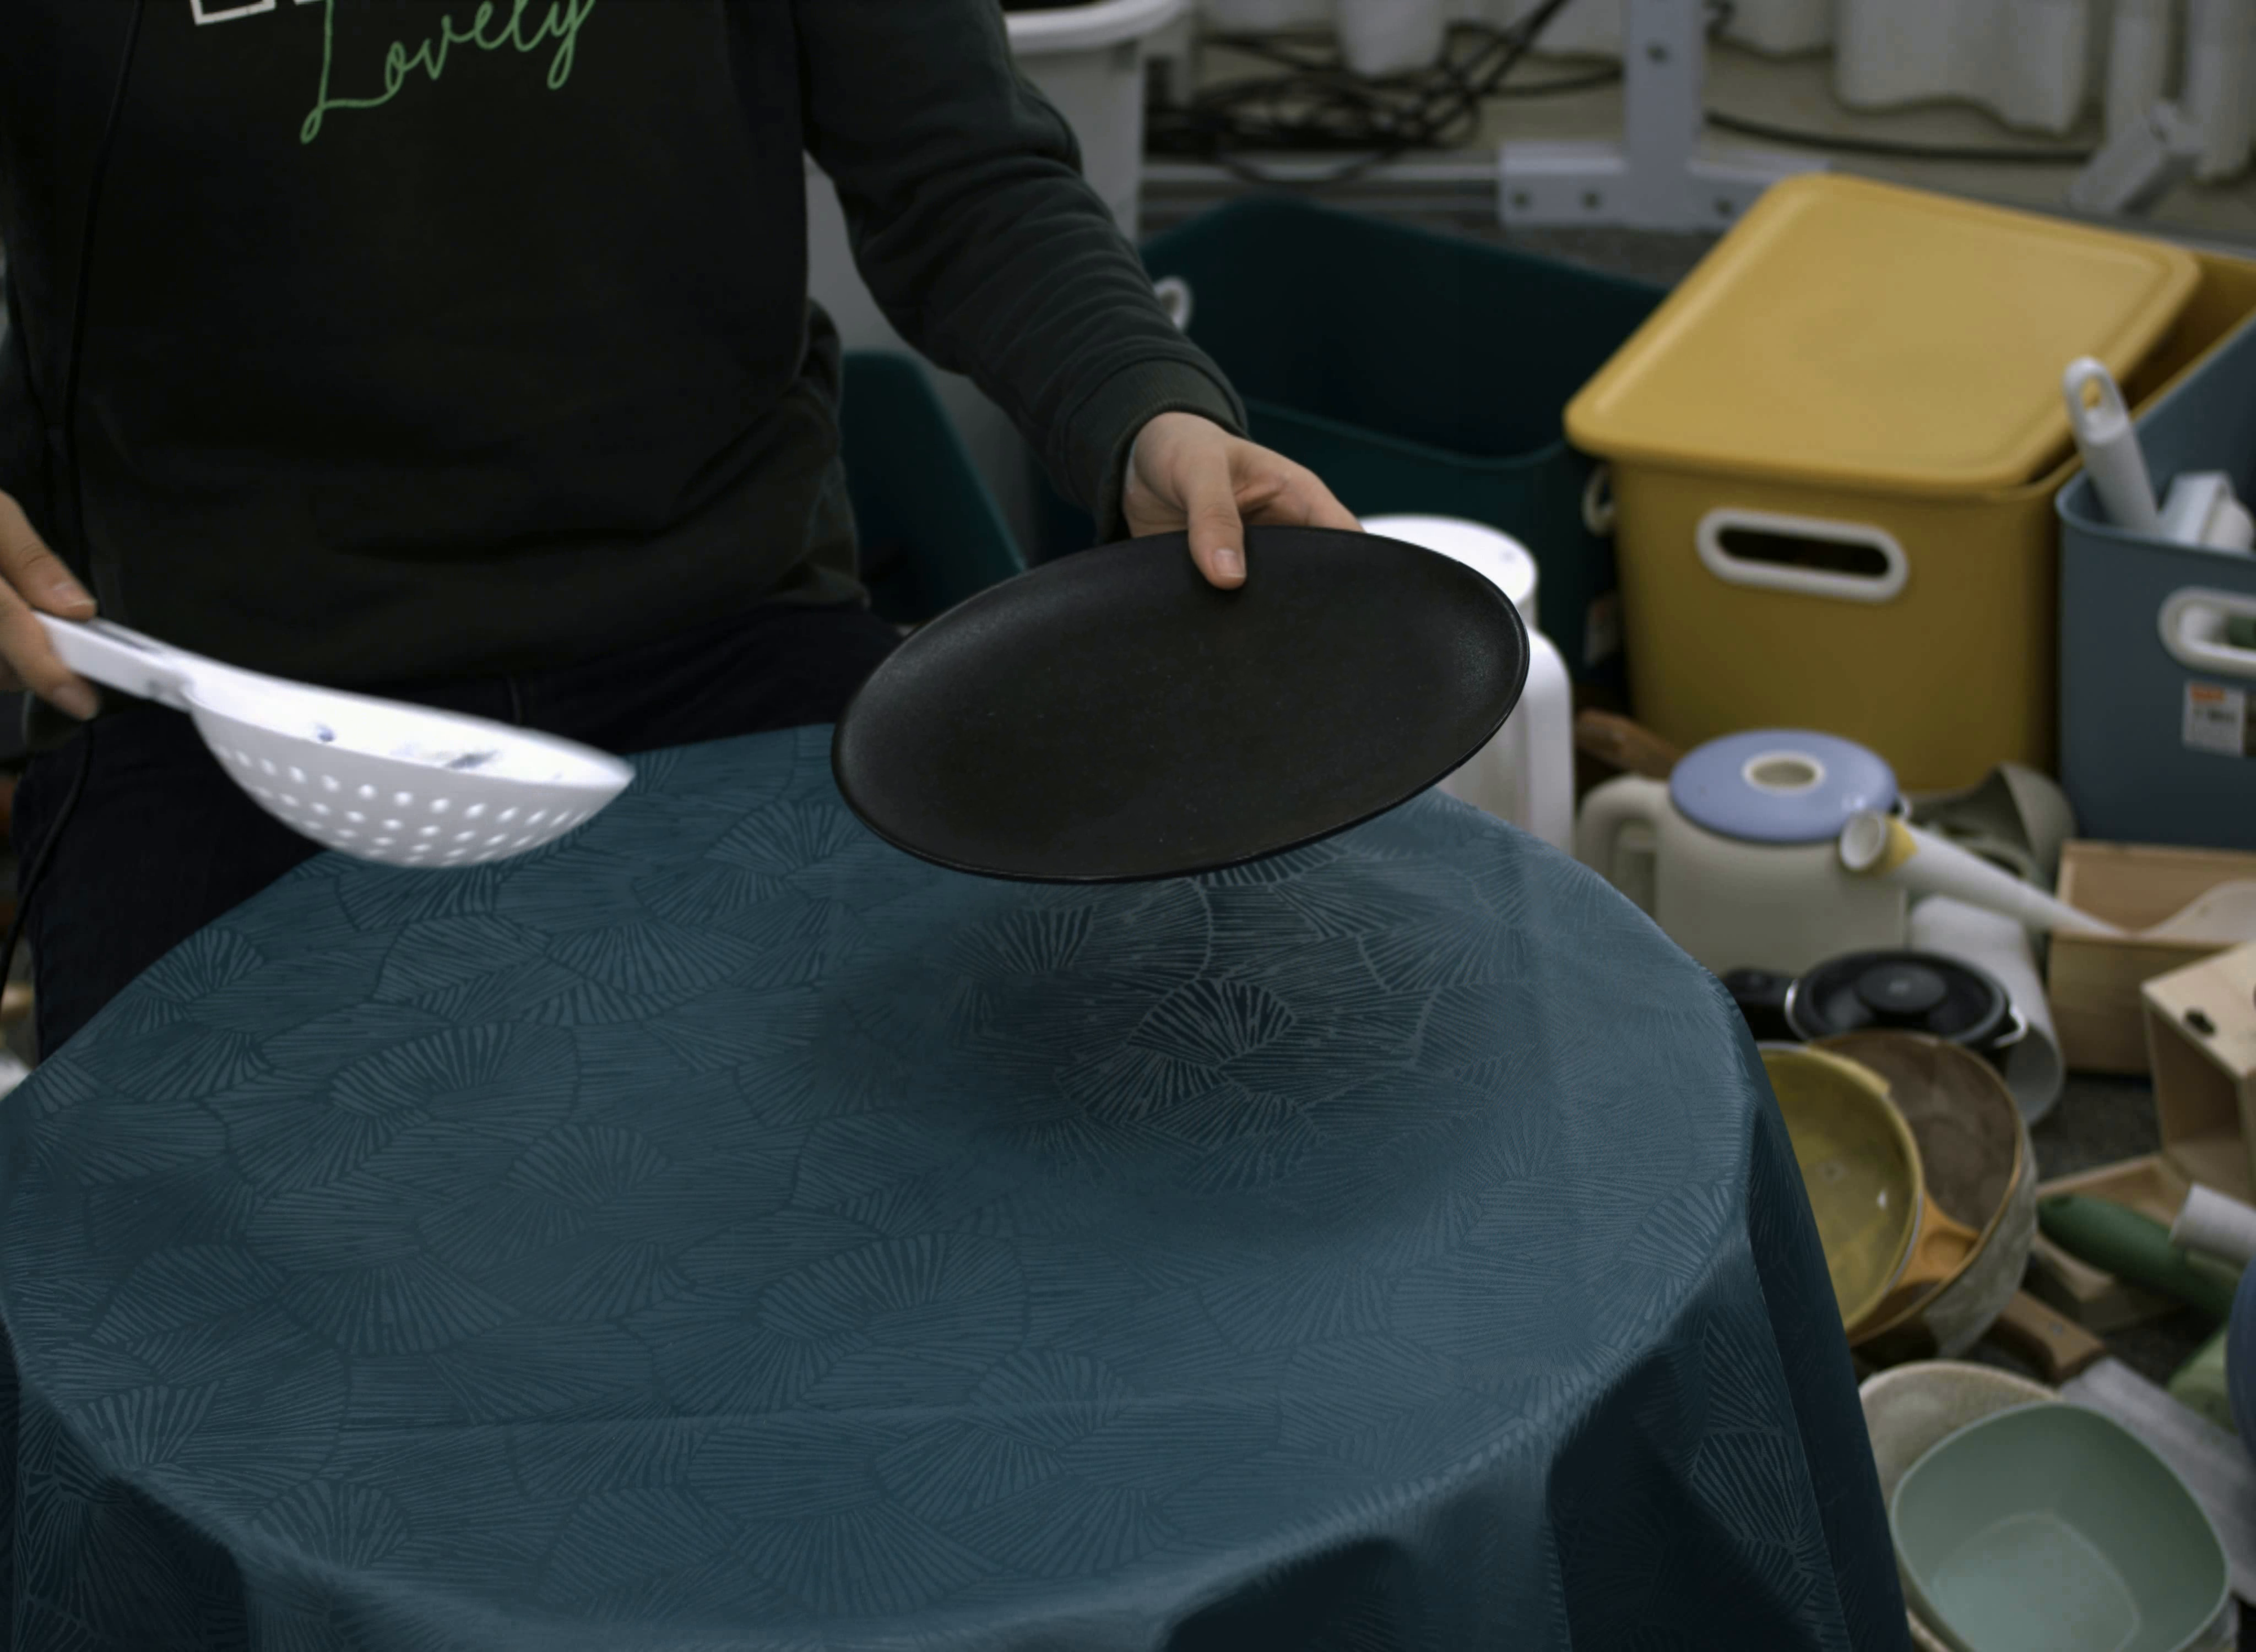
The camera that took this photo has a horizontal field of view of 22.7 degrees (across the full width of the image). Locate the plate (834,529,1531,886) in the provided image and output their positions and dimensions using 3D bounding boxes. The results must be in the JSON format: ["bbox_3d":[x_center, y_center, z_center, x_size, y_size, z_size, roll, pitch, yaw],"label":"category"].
[{"bbox_3d":[0.020,-0.037,1.935,0.243,0.023,0.248,-8,29,5],"label":"plate"}]

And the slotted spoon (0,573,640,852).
[{"bbox_3d":[-0.290,-0.048,1.780,0.136,0.045,0.349,5,14,-45],"label":"slotted spoon"}]
